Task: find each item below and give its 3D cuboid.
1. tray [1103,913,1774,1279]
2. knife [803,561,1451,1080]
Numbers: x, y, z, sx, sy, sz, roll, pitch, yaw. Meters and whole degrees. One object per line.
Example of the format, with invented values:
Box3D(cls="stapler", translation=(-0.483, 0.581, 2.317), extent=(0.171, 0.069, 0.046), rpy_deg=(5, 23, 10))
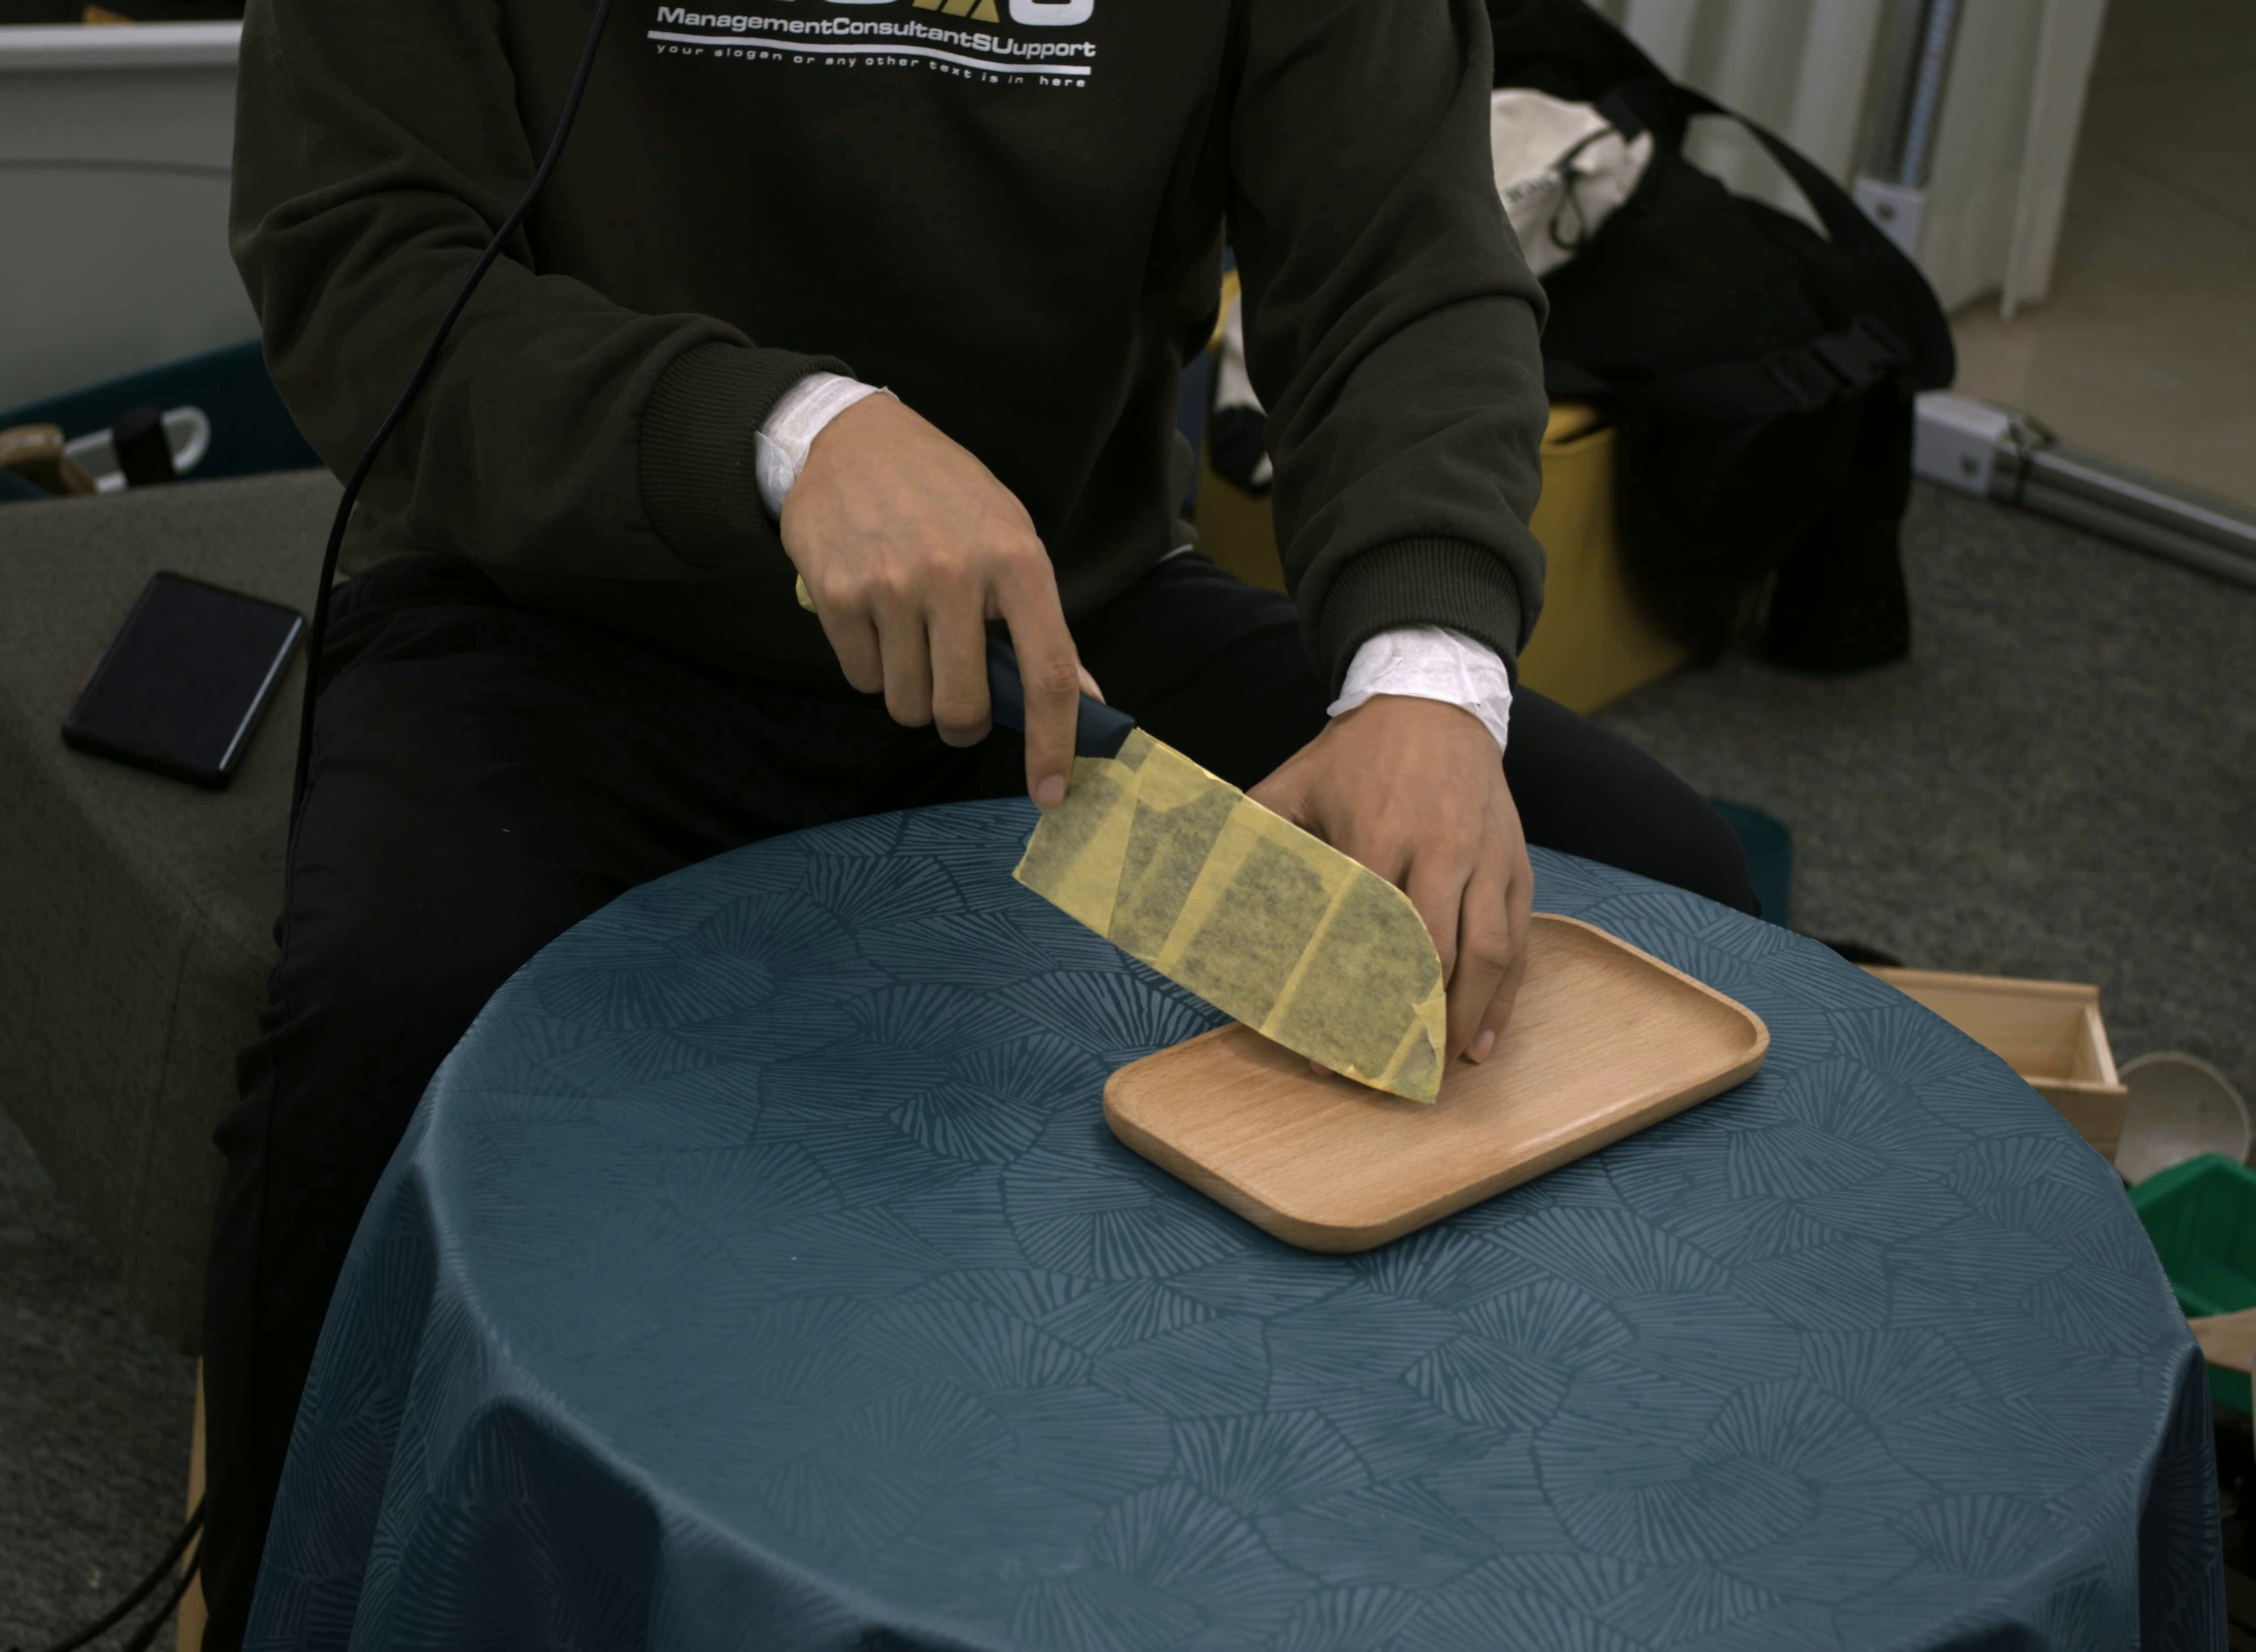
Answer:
Box3D(cls="tray", translation=(0.112, 0.093, 1.882), extent=(0.249, 0.023, 0.131), rpy_deg=(-23, 35, -39))
Box3D(cls="knife", translation=(-0.004, -0.002, 1.882), extent=(0.290, 0.081, 0.027), rpy_deg=(35, 15, 15))
